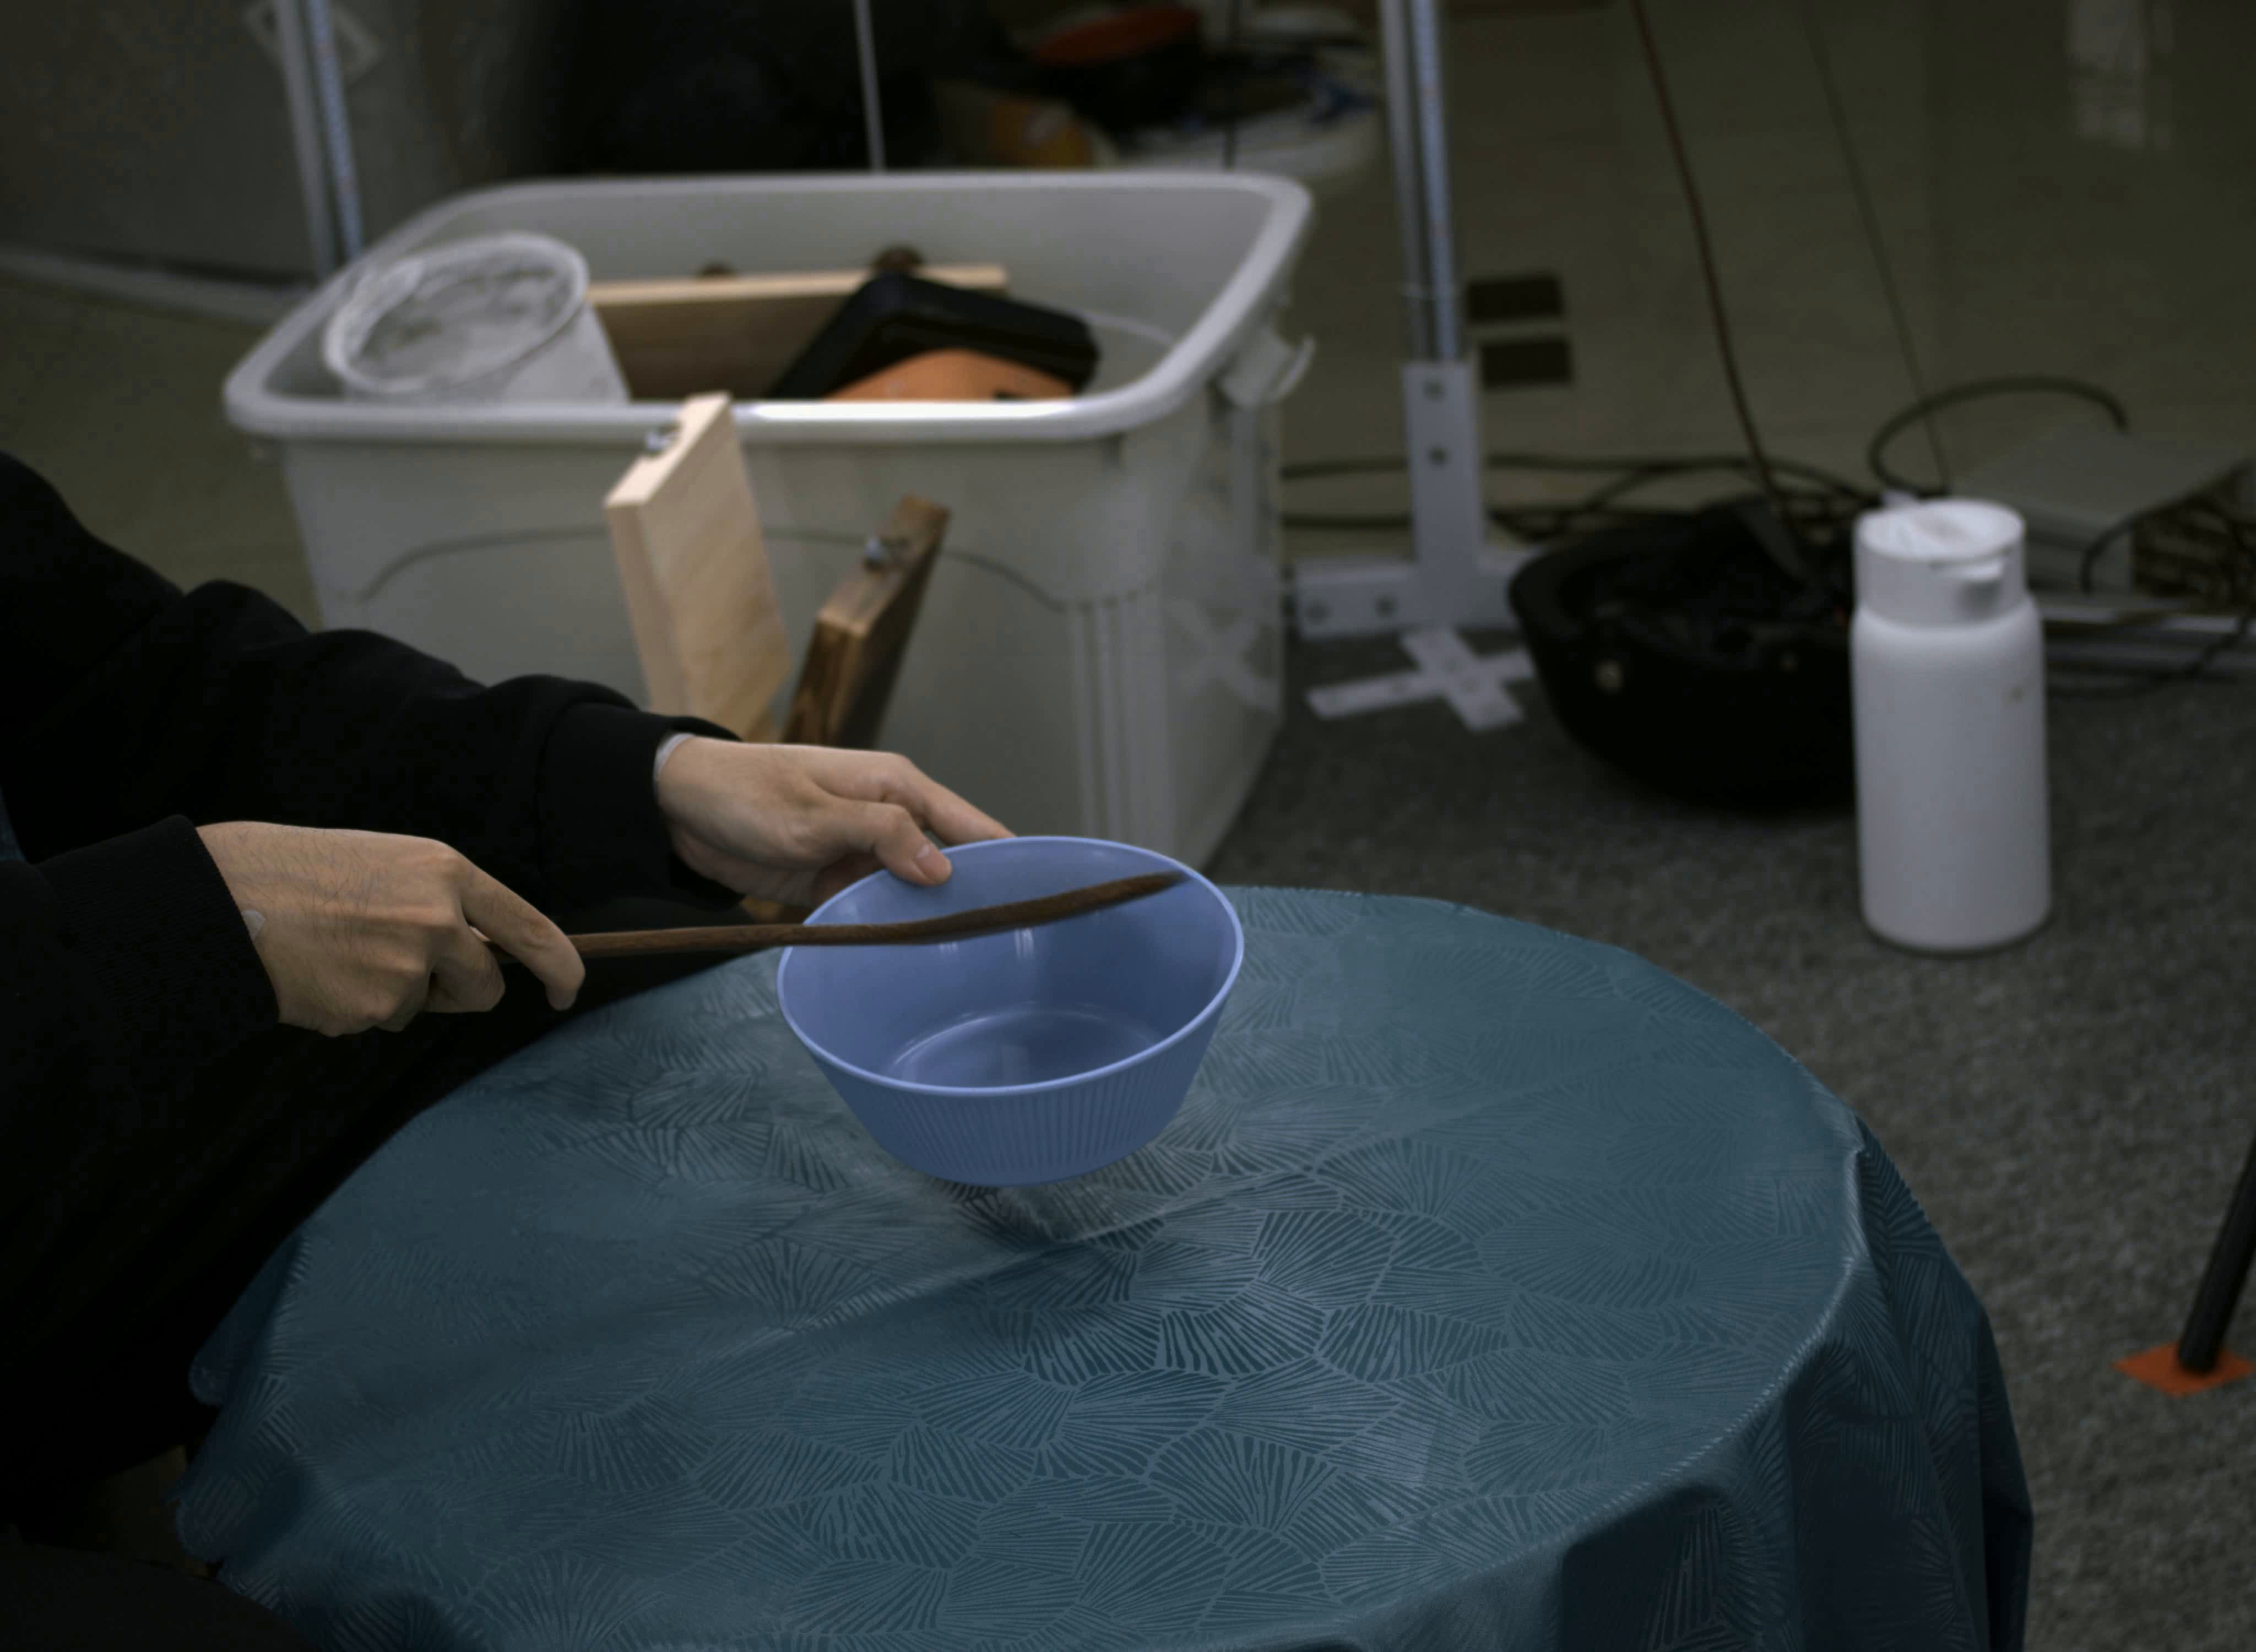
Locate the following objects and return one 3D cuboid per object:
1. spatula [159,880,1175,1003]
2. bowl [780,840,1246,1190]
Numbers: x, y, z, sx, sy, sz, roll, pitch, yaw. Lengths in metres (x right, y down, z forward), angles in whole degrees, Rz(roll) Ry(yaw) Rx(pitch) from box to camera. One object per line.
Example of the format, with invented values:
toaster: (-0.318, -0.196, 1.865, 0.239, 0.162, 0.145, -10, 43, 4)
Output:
spatula: (-0.165, 0.043, 2.065, 0.385, 0.016, 0.096, -3, -6, -25)
bowl: (-0.040, 0.078, 2.126, 0.176, 0.071, 0.173, -6, 31, 4)
